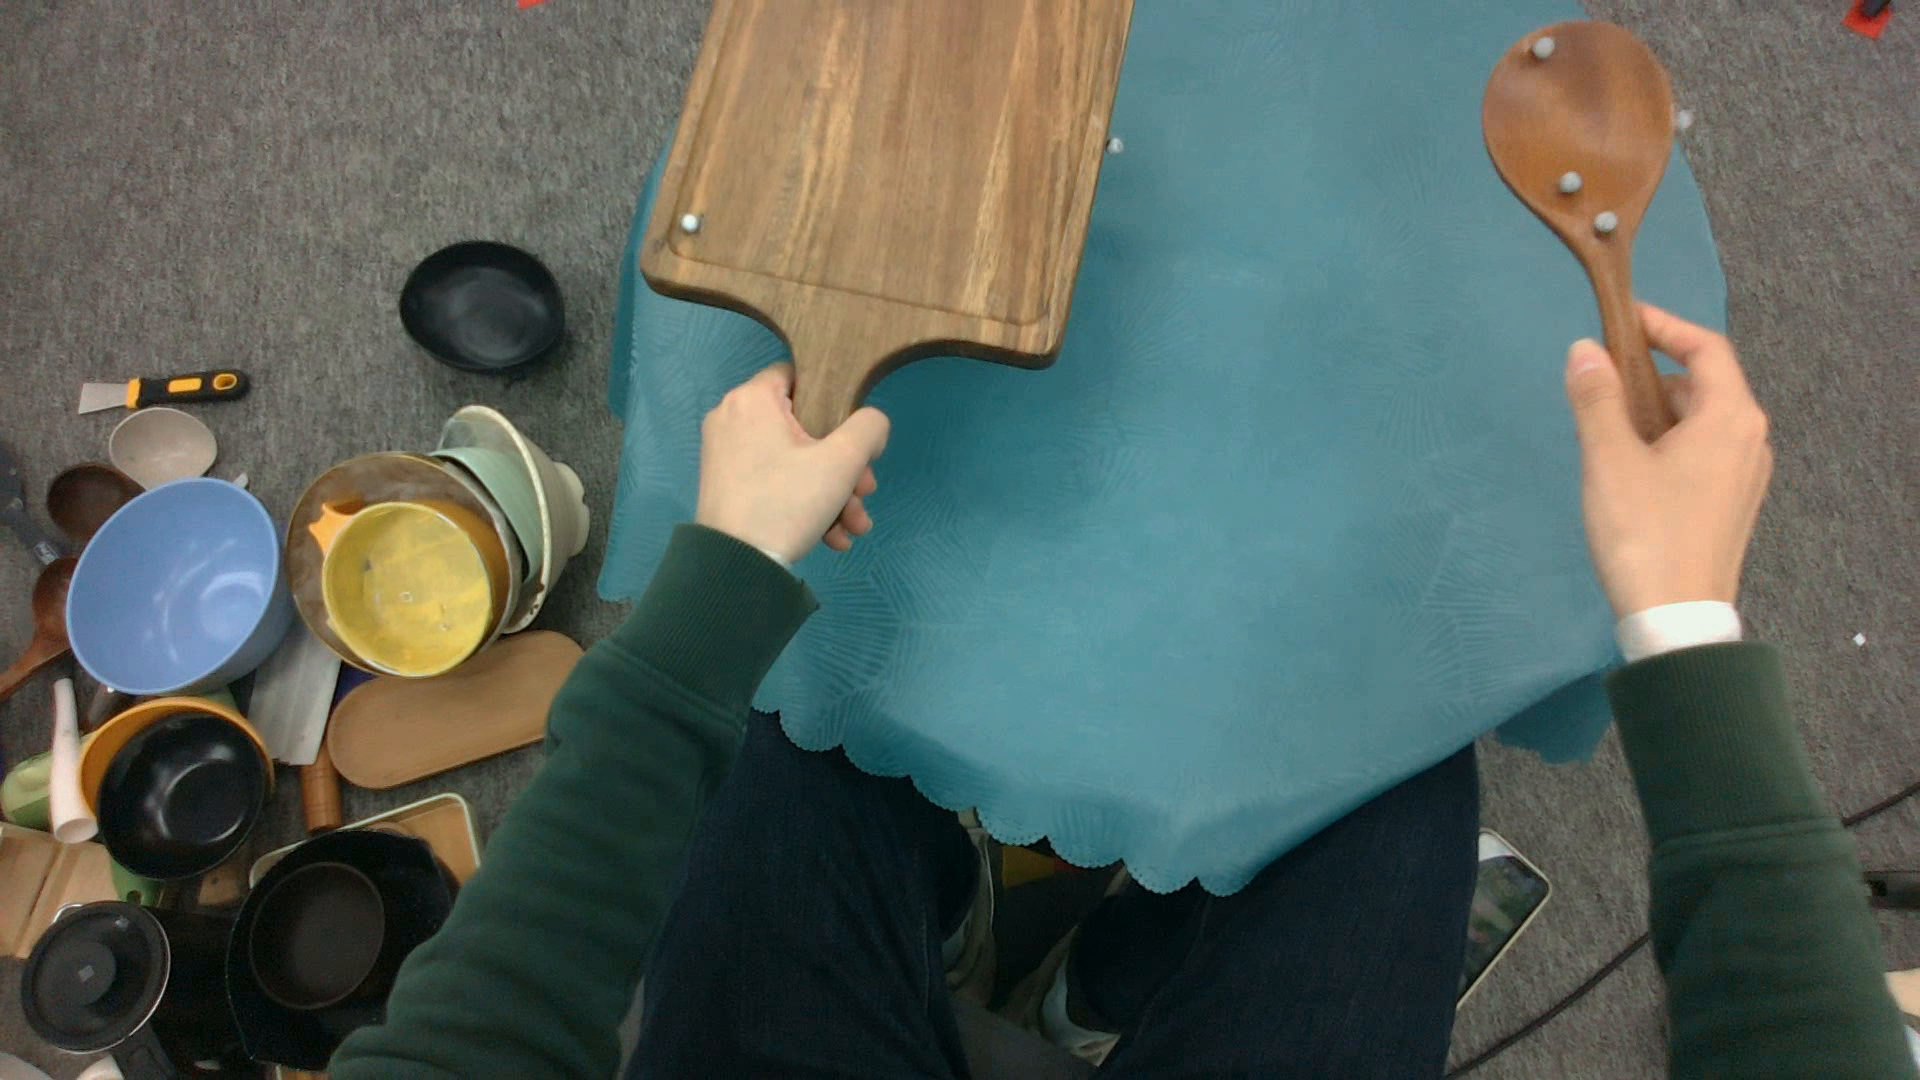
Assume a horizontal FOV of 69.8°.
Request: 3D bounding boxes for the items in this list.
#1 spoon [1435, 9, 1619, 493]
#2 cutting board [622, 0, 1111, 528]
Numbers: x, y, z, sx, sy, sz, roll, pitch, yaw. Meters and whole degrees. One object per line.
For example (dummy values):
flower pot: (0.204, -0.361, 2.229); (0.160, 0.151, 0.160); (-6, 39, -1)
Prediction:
spoon: (0.238, -0.125, 0.580); (0.075, 0.017, 0.216); (3, 77, 11)
cutting board: (-0.045, -0.174, 0.649); (0.201, 0.023, 0.353); (12, 74, 1)
